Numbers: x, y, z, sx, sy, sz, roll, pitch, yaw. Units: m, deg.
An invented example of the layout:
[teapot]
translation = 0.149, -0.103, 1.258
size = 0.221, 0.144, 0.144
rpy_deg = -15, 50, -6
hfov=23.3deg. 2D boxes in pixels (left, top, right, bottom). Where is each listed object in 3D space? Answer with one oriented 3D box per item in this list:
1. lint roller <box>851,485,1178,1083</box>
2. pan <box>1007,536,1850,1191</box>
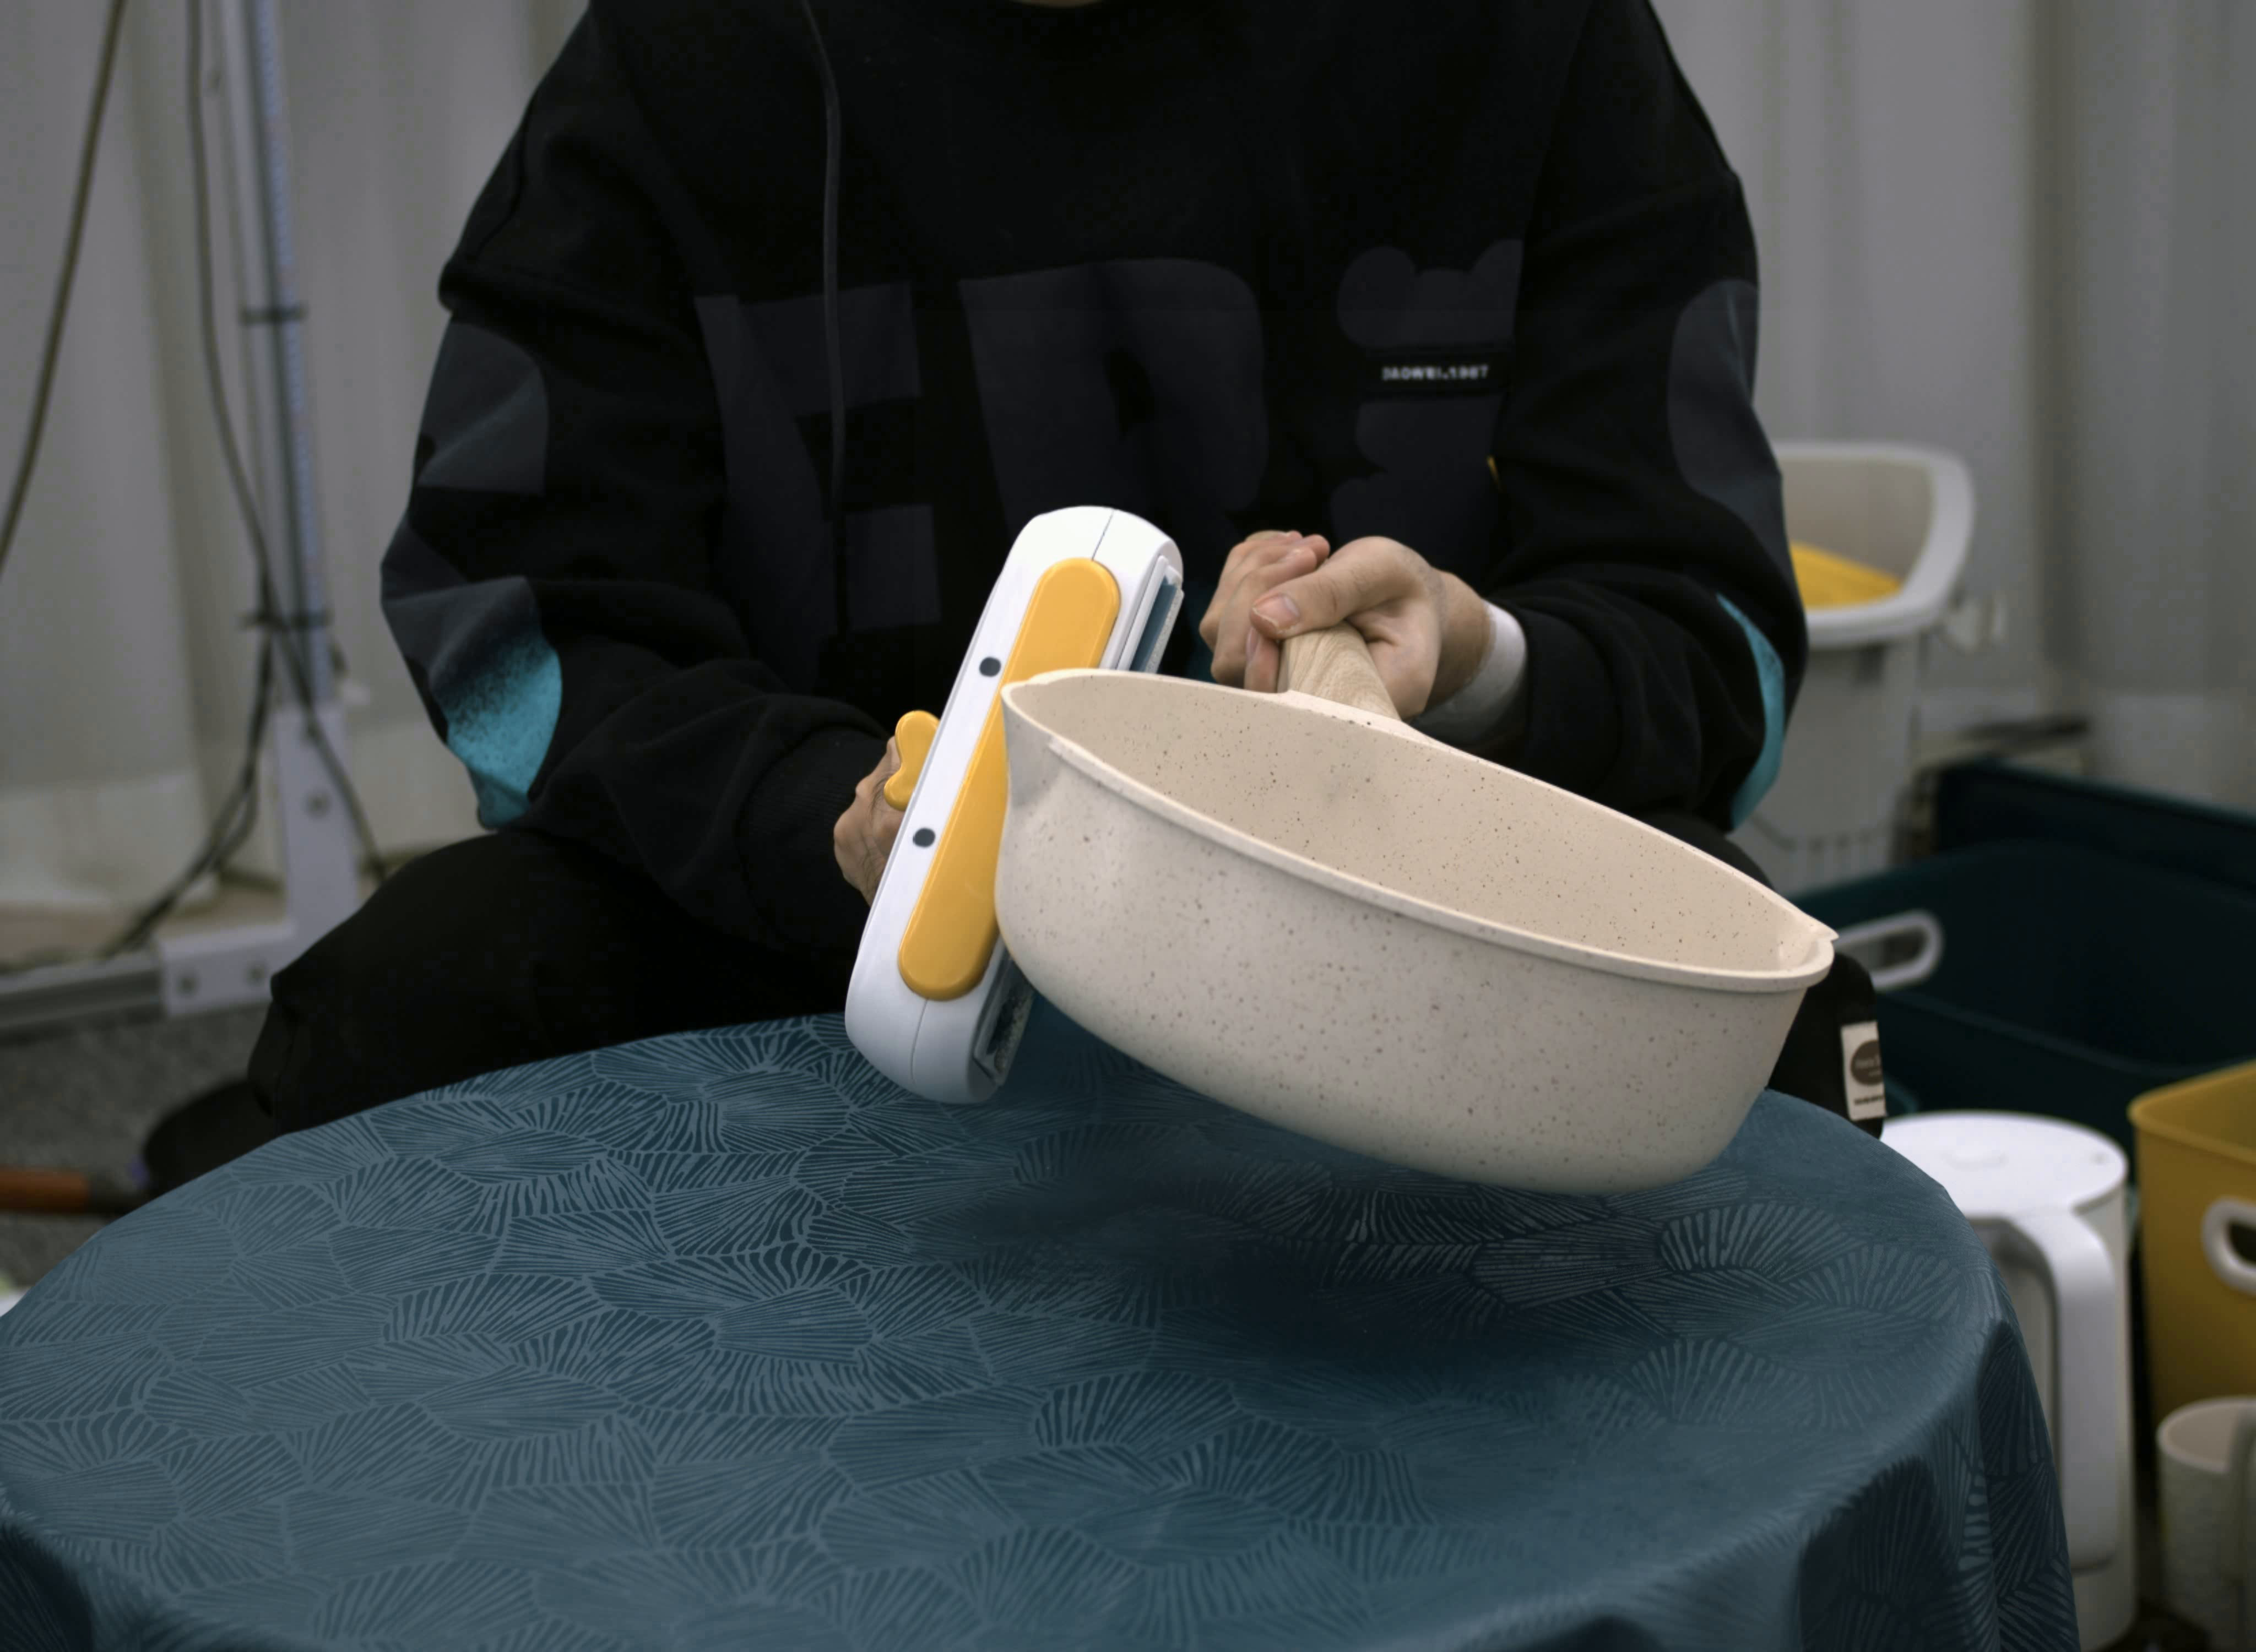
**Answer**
[lint roller]
translation = -0.041, 0.000, 1.758
size = 0.074, 0.194, 0.191
rpy_deg = 14, -16, 4
[pan]
translation = 0.069, 0.004, 1.701
size = 0.262, 0.102, 0.438
rpy_deg = 13, 13, -11
